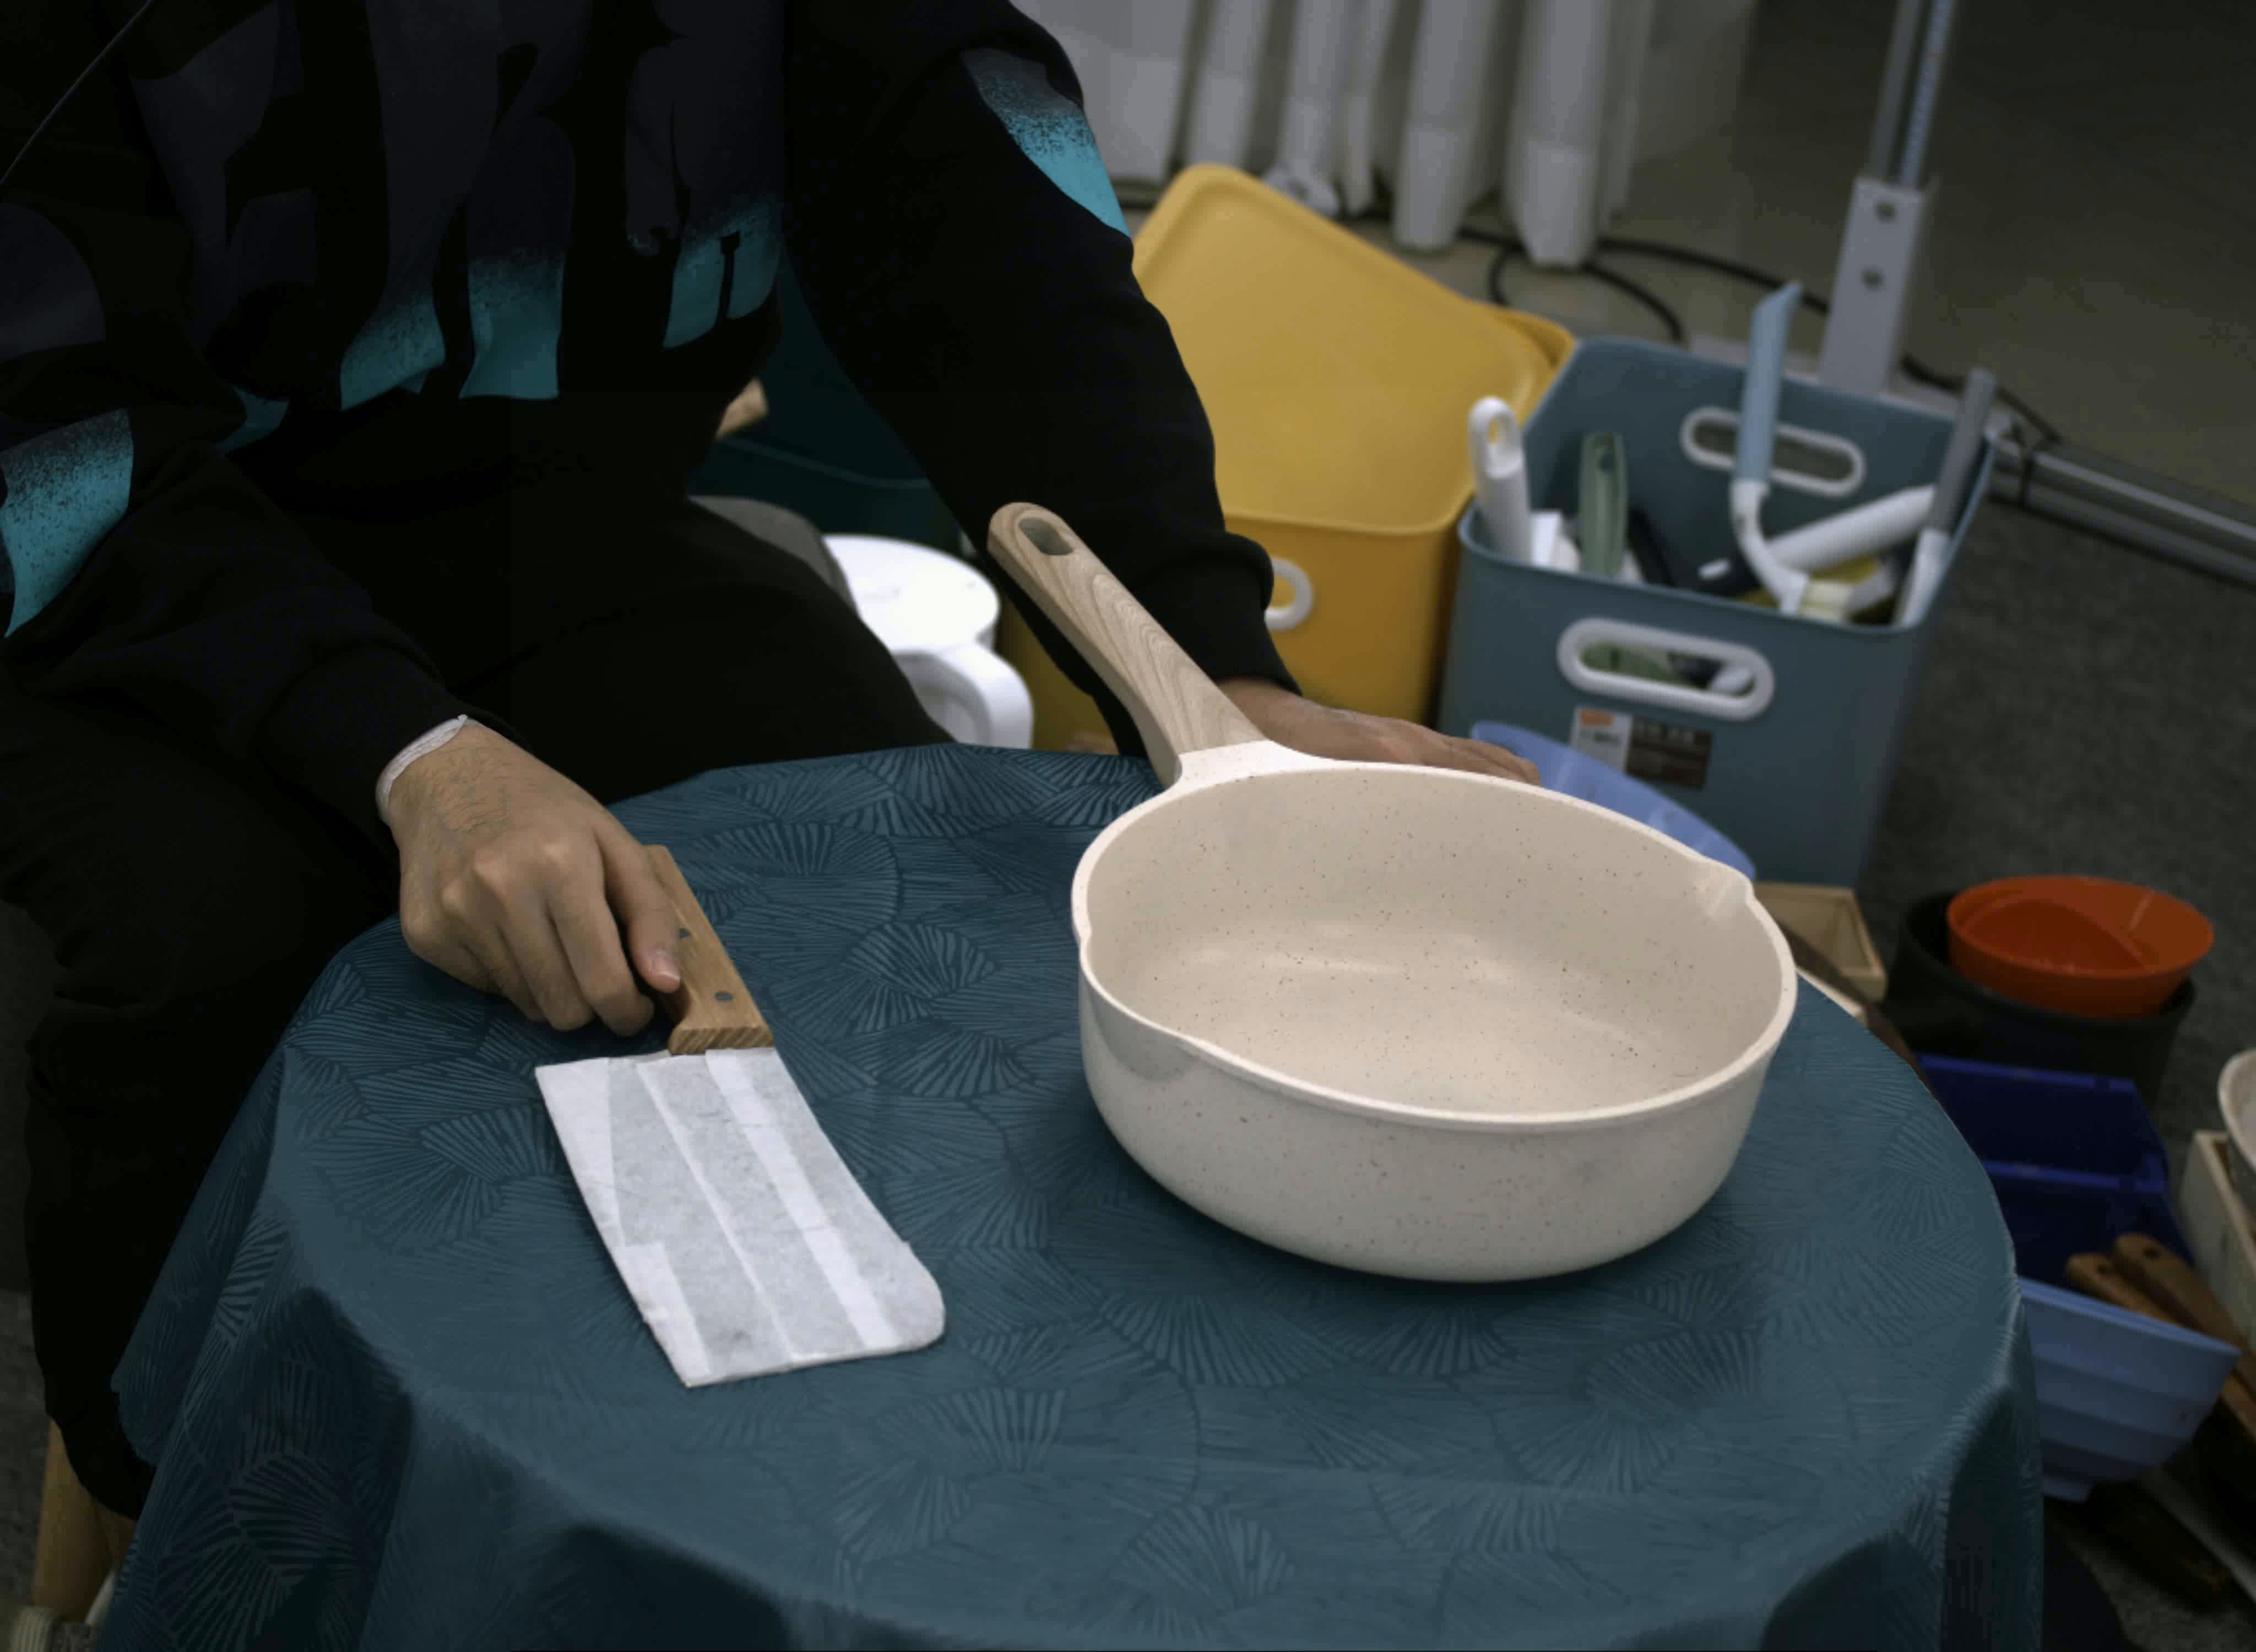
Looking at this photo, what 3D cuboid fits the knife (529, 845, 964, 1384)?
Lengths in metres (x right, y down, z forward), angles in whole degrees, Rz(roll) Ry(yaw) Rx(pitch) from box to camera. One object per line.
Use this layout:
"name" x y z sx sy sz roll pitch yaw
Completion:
"knife" -0.143 0.094 1.809 0.113 0.021 0.318 -3 31 -18

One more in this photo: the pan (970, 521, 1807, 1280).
"pan" 0.058 0.023 1.905 0.262 0.101 0.439 -12 32 -28
